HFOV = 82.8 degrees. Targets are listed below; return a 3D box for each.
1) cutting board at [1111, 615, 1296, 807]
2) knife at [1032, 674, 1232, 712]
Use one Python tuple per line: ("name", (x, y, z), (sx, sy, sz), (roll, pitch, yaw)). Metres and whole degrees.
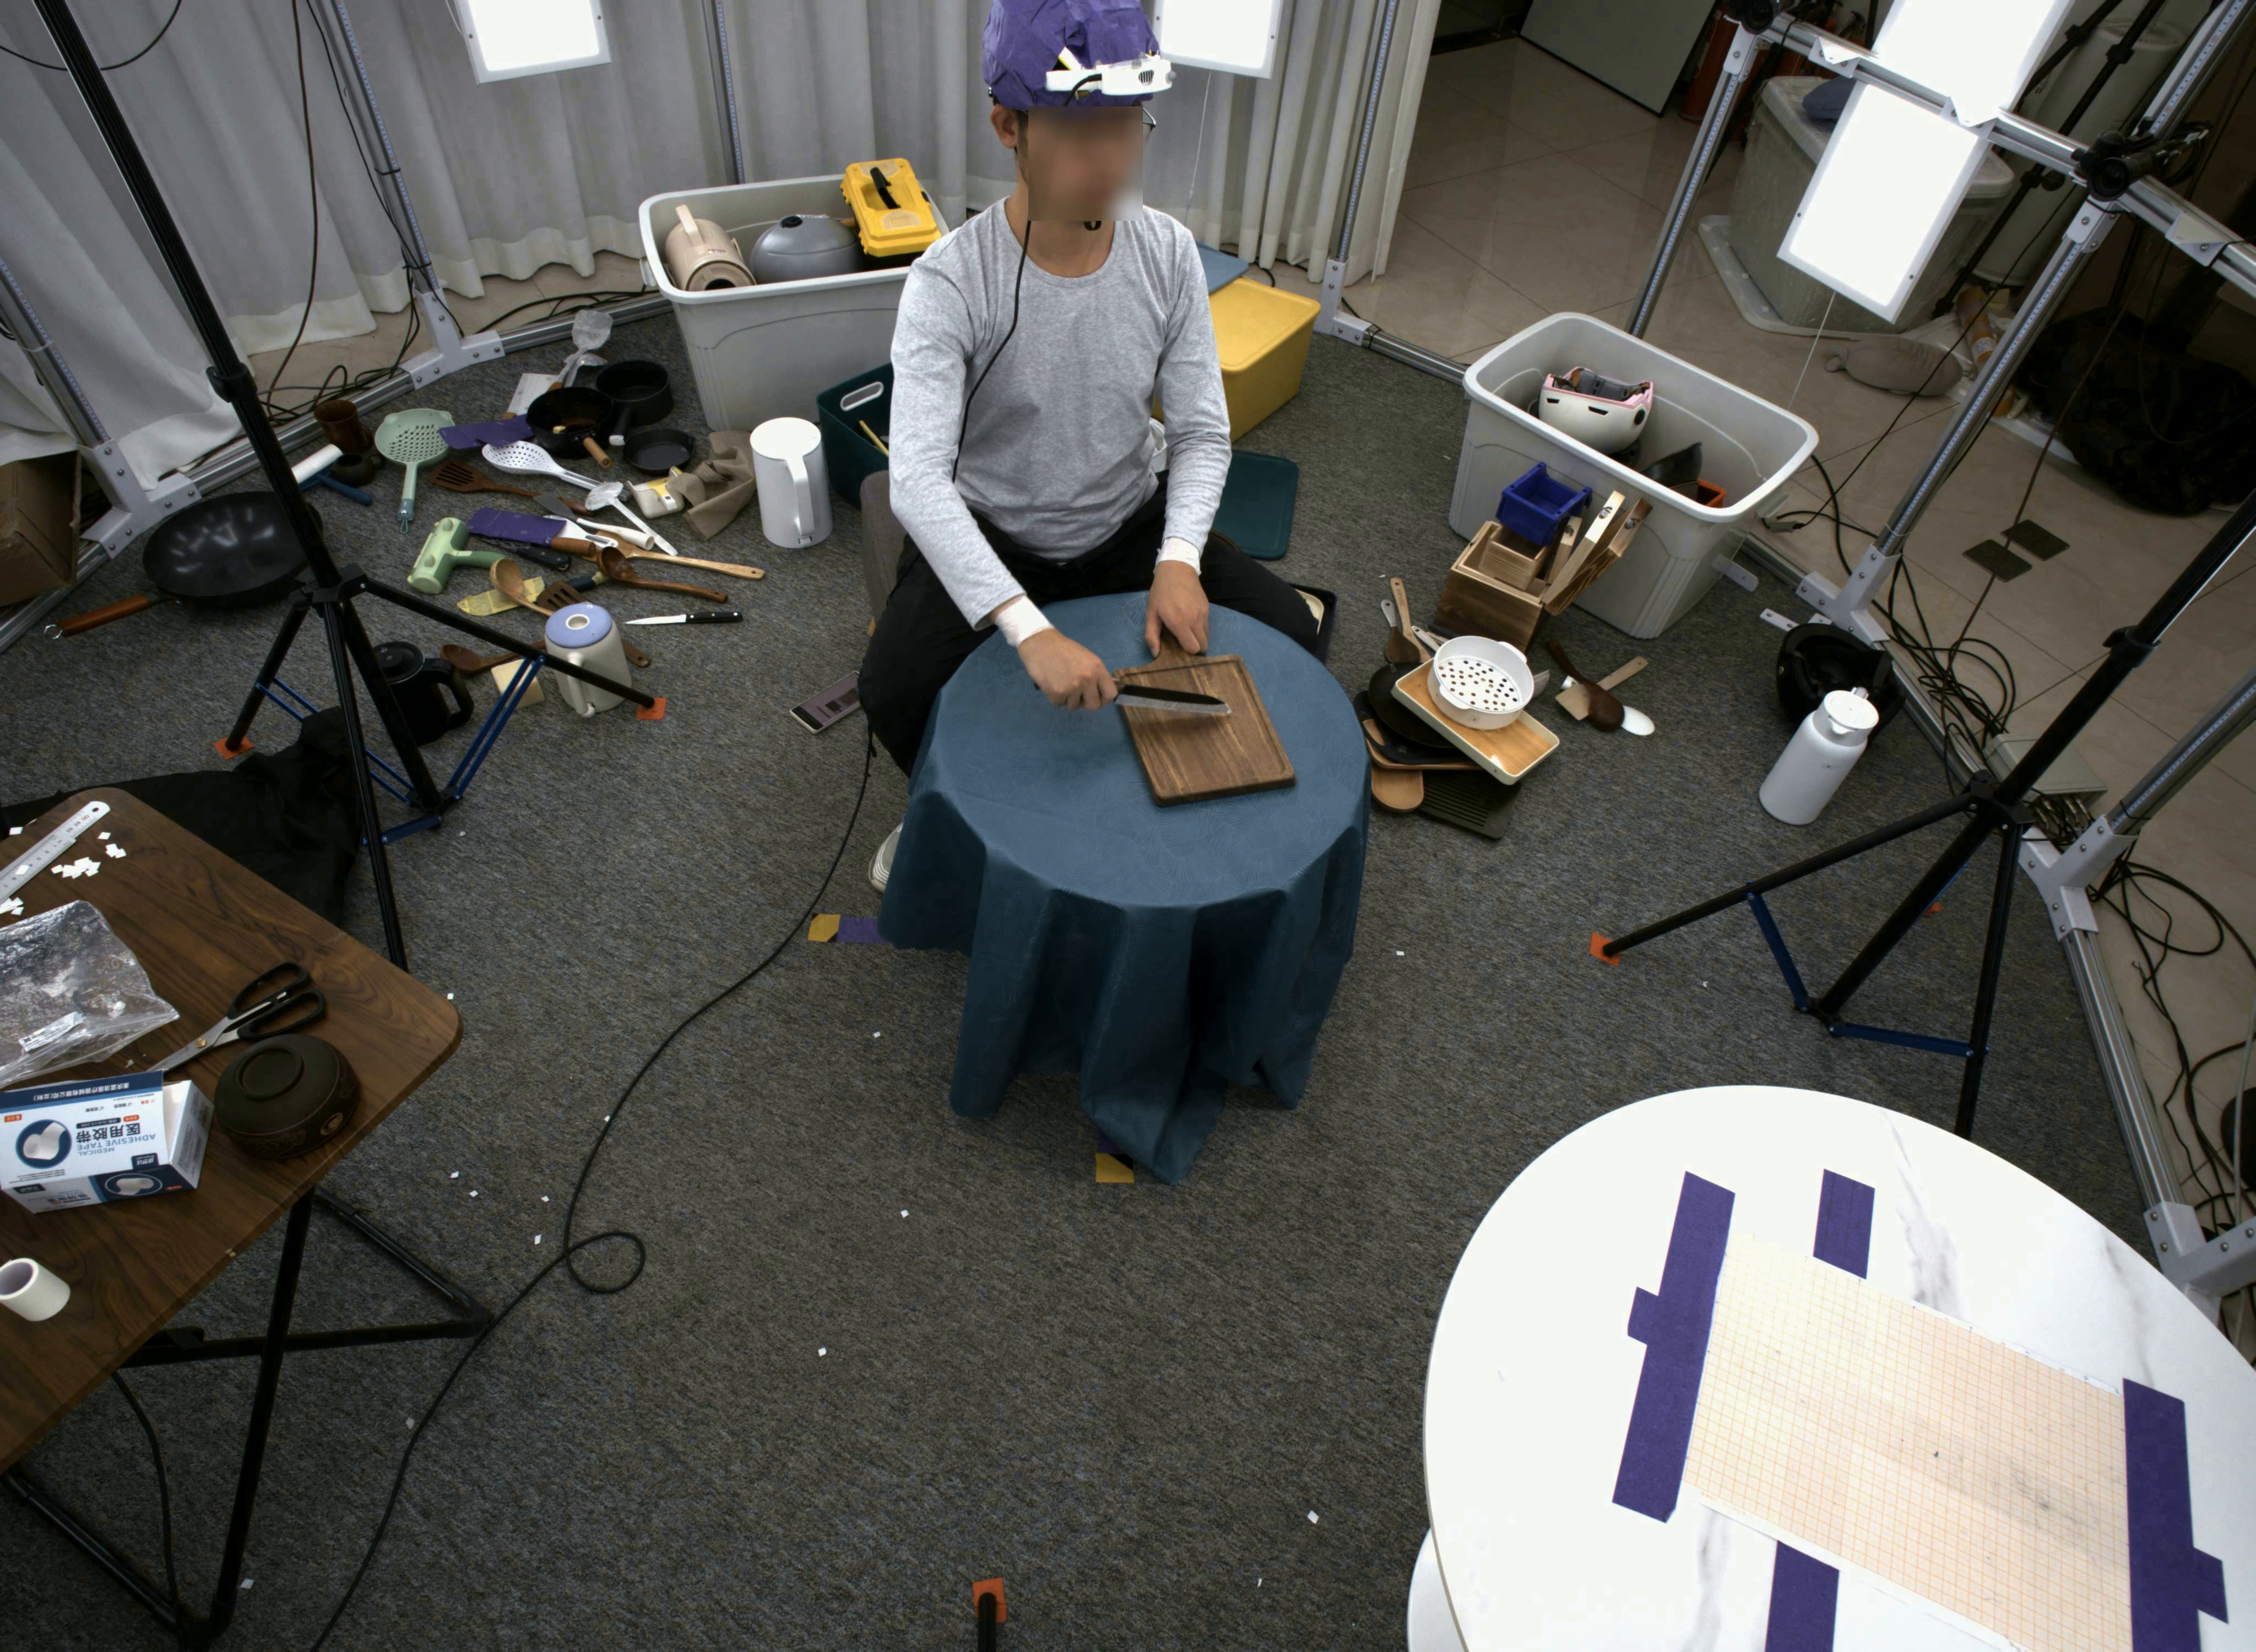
("cutting board", (0.089, -0.177, 1.814), (0.201, 0.022, 0.361), (-9, 50, -12))
("knife", (0.008, -0.177, 1.746), (0.288, 0.049, 0.020), (6, 60, -16))
